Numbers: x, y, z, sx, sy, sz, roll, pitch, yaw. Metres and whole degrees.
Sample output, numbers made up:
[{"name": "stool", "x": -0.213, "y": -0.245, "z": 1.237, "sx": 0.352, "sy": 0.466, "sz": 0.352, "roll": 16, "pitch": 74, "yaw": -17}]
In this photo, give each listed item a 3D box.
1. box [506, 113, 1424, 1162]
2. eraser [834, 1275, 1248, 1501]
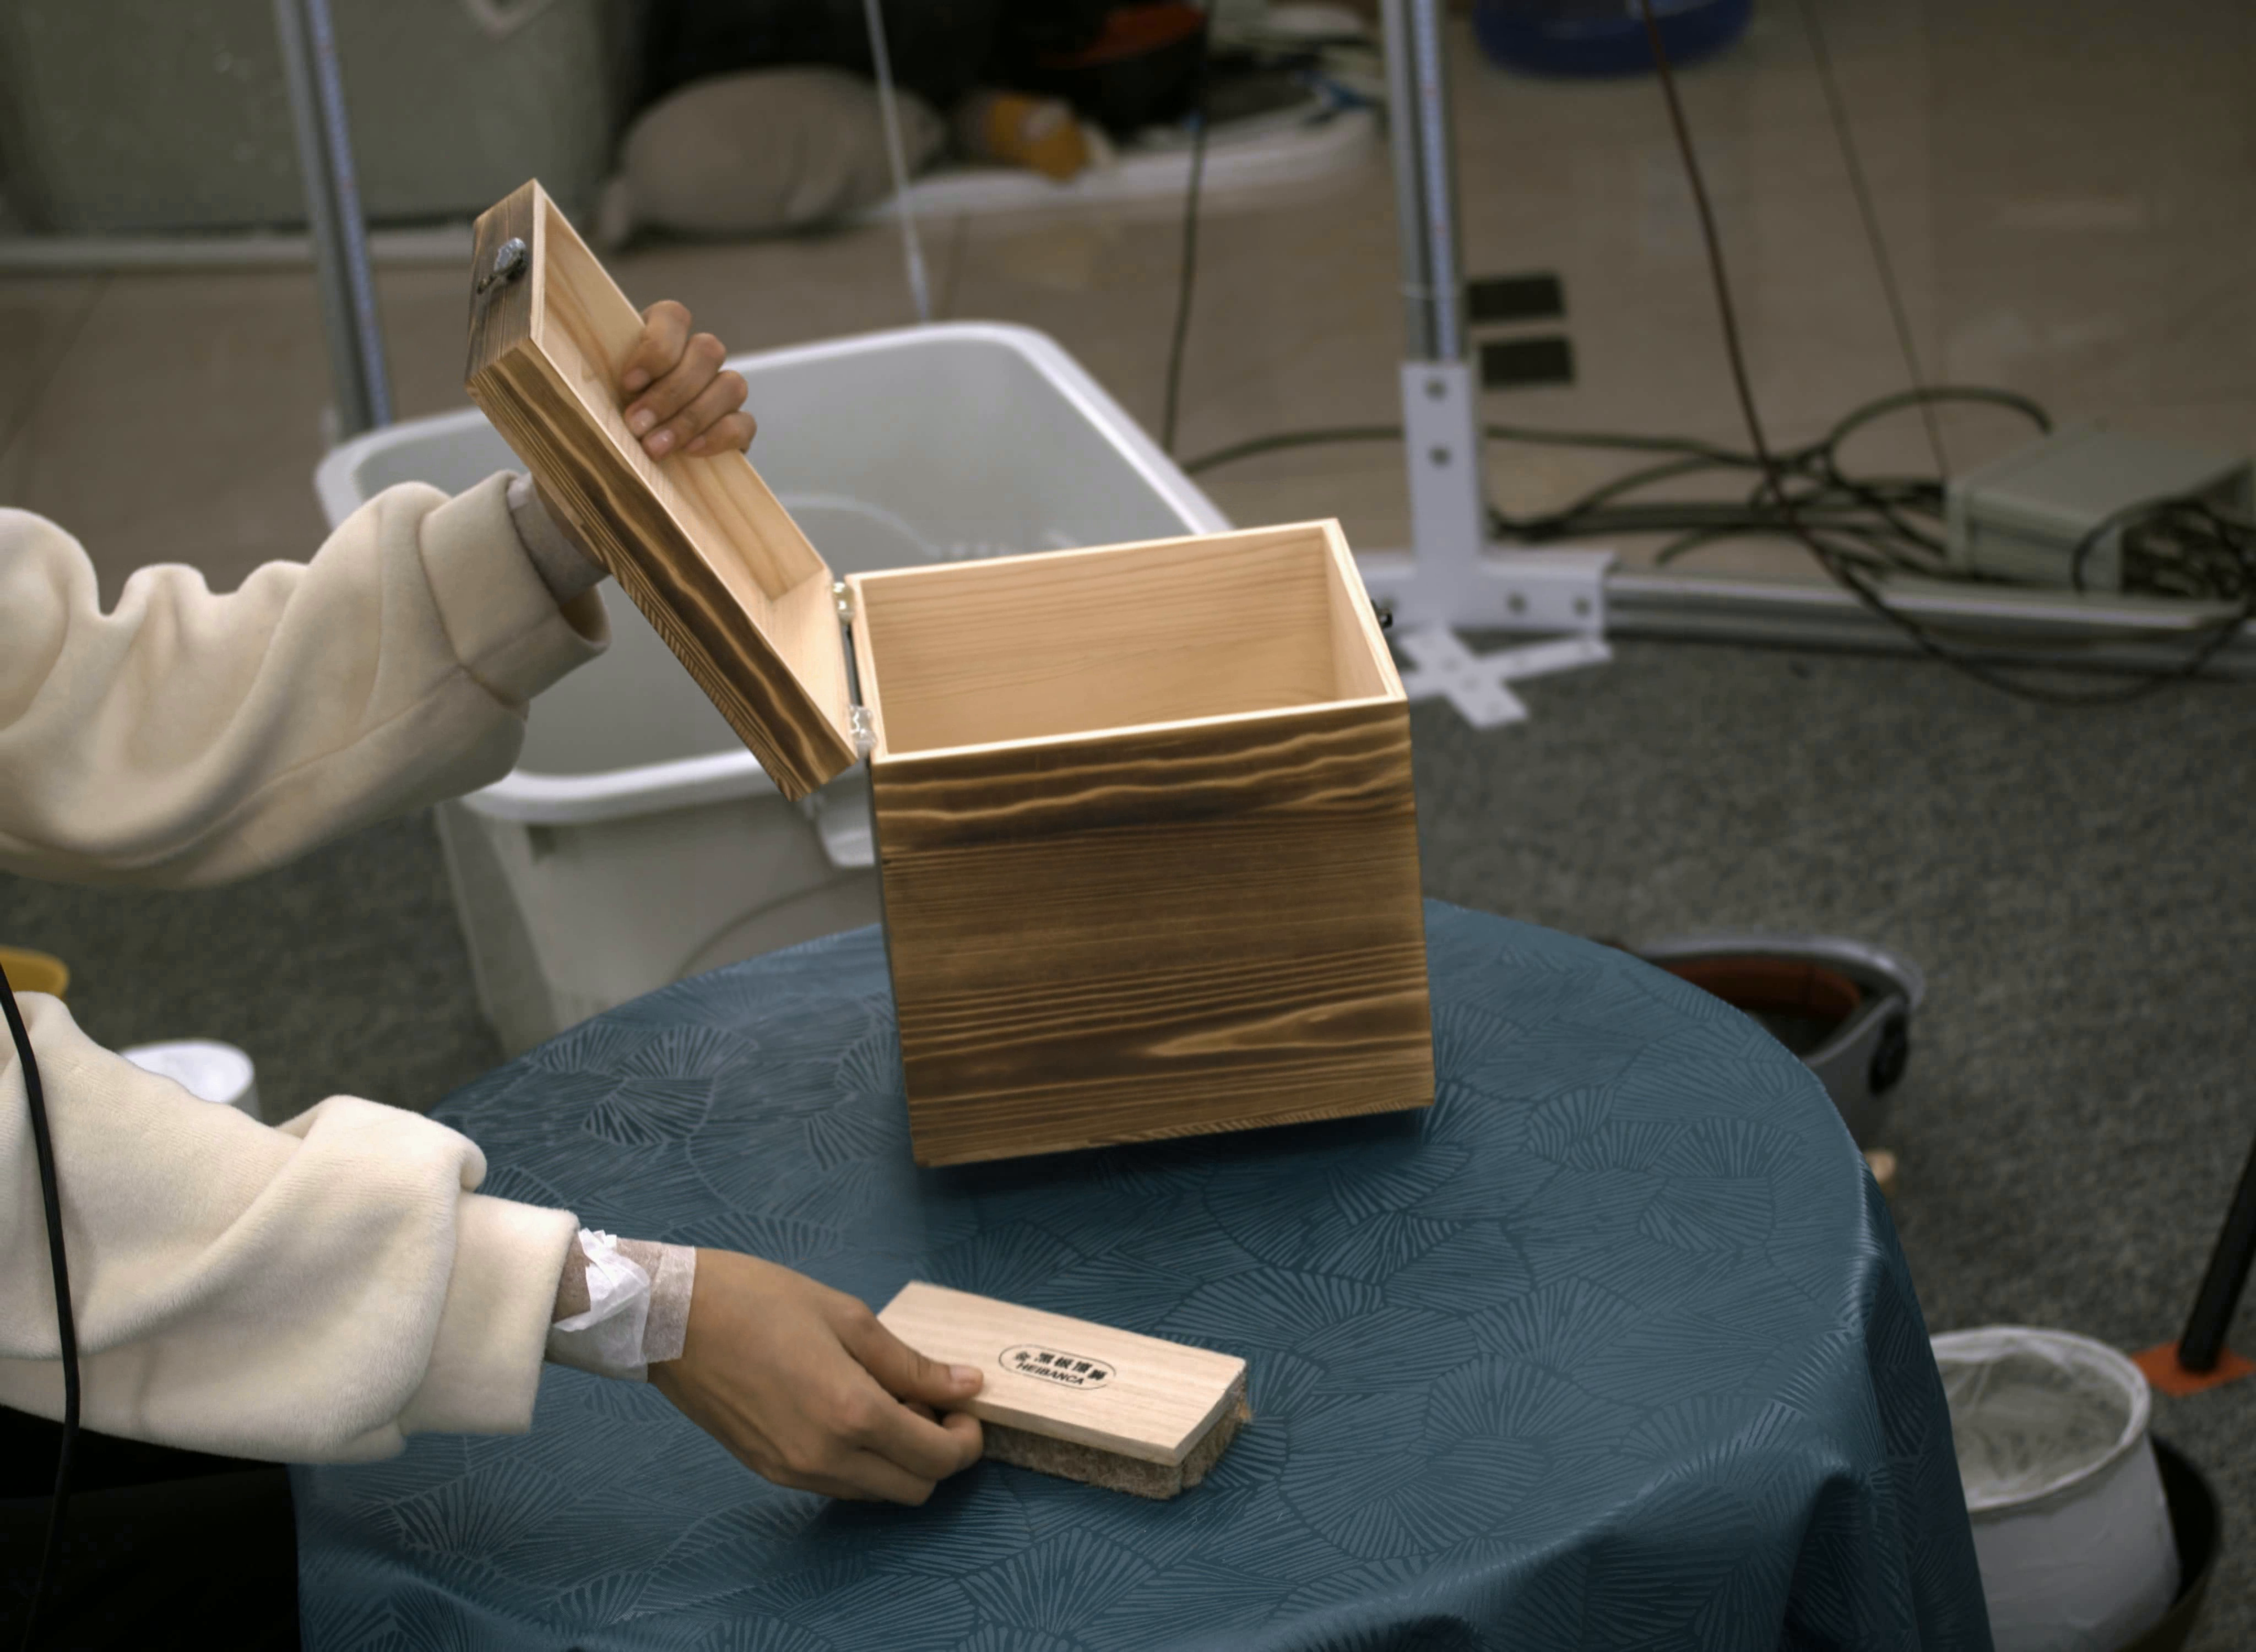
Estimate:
[{"name": "box", "x": -0.056, "y": -0.081, "z": 2.151, "sx": 0.321, "sy": 0.381, "sz": 0.206, "roll": -6, "pitch": 25, "yaw": -4}, {"name": "eraser", "x": -0.030, "y": 0.198, "z": 1.988, "sx": 0.138, "sy": 0.029, "sz": 0.056, "roll": 12, "pitch": 35, "yaw": 29}]
